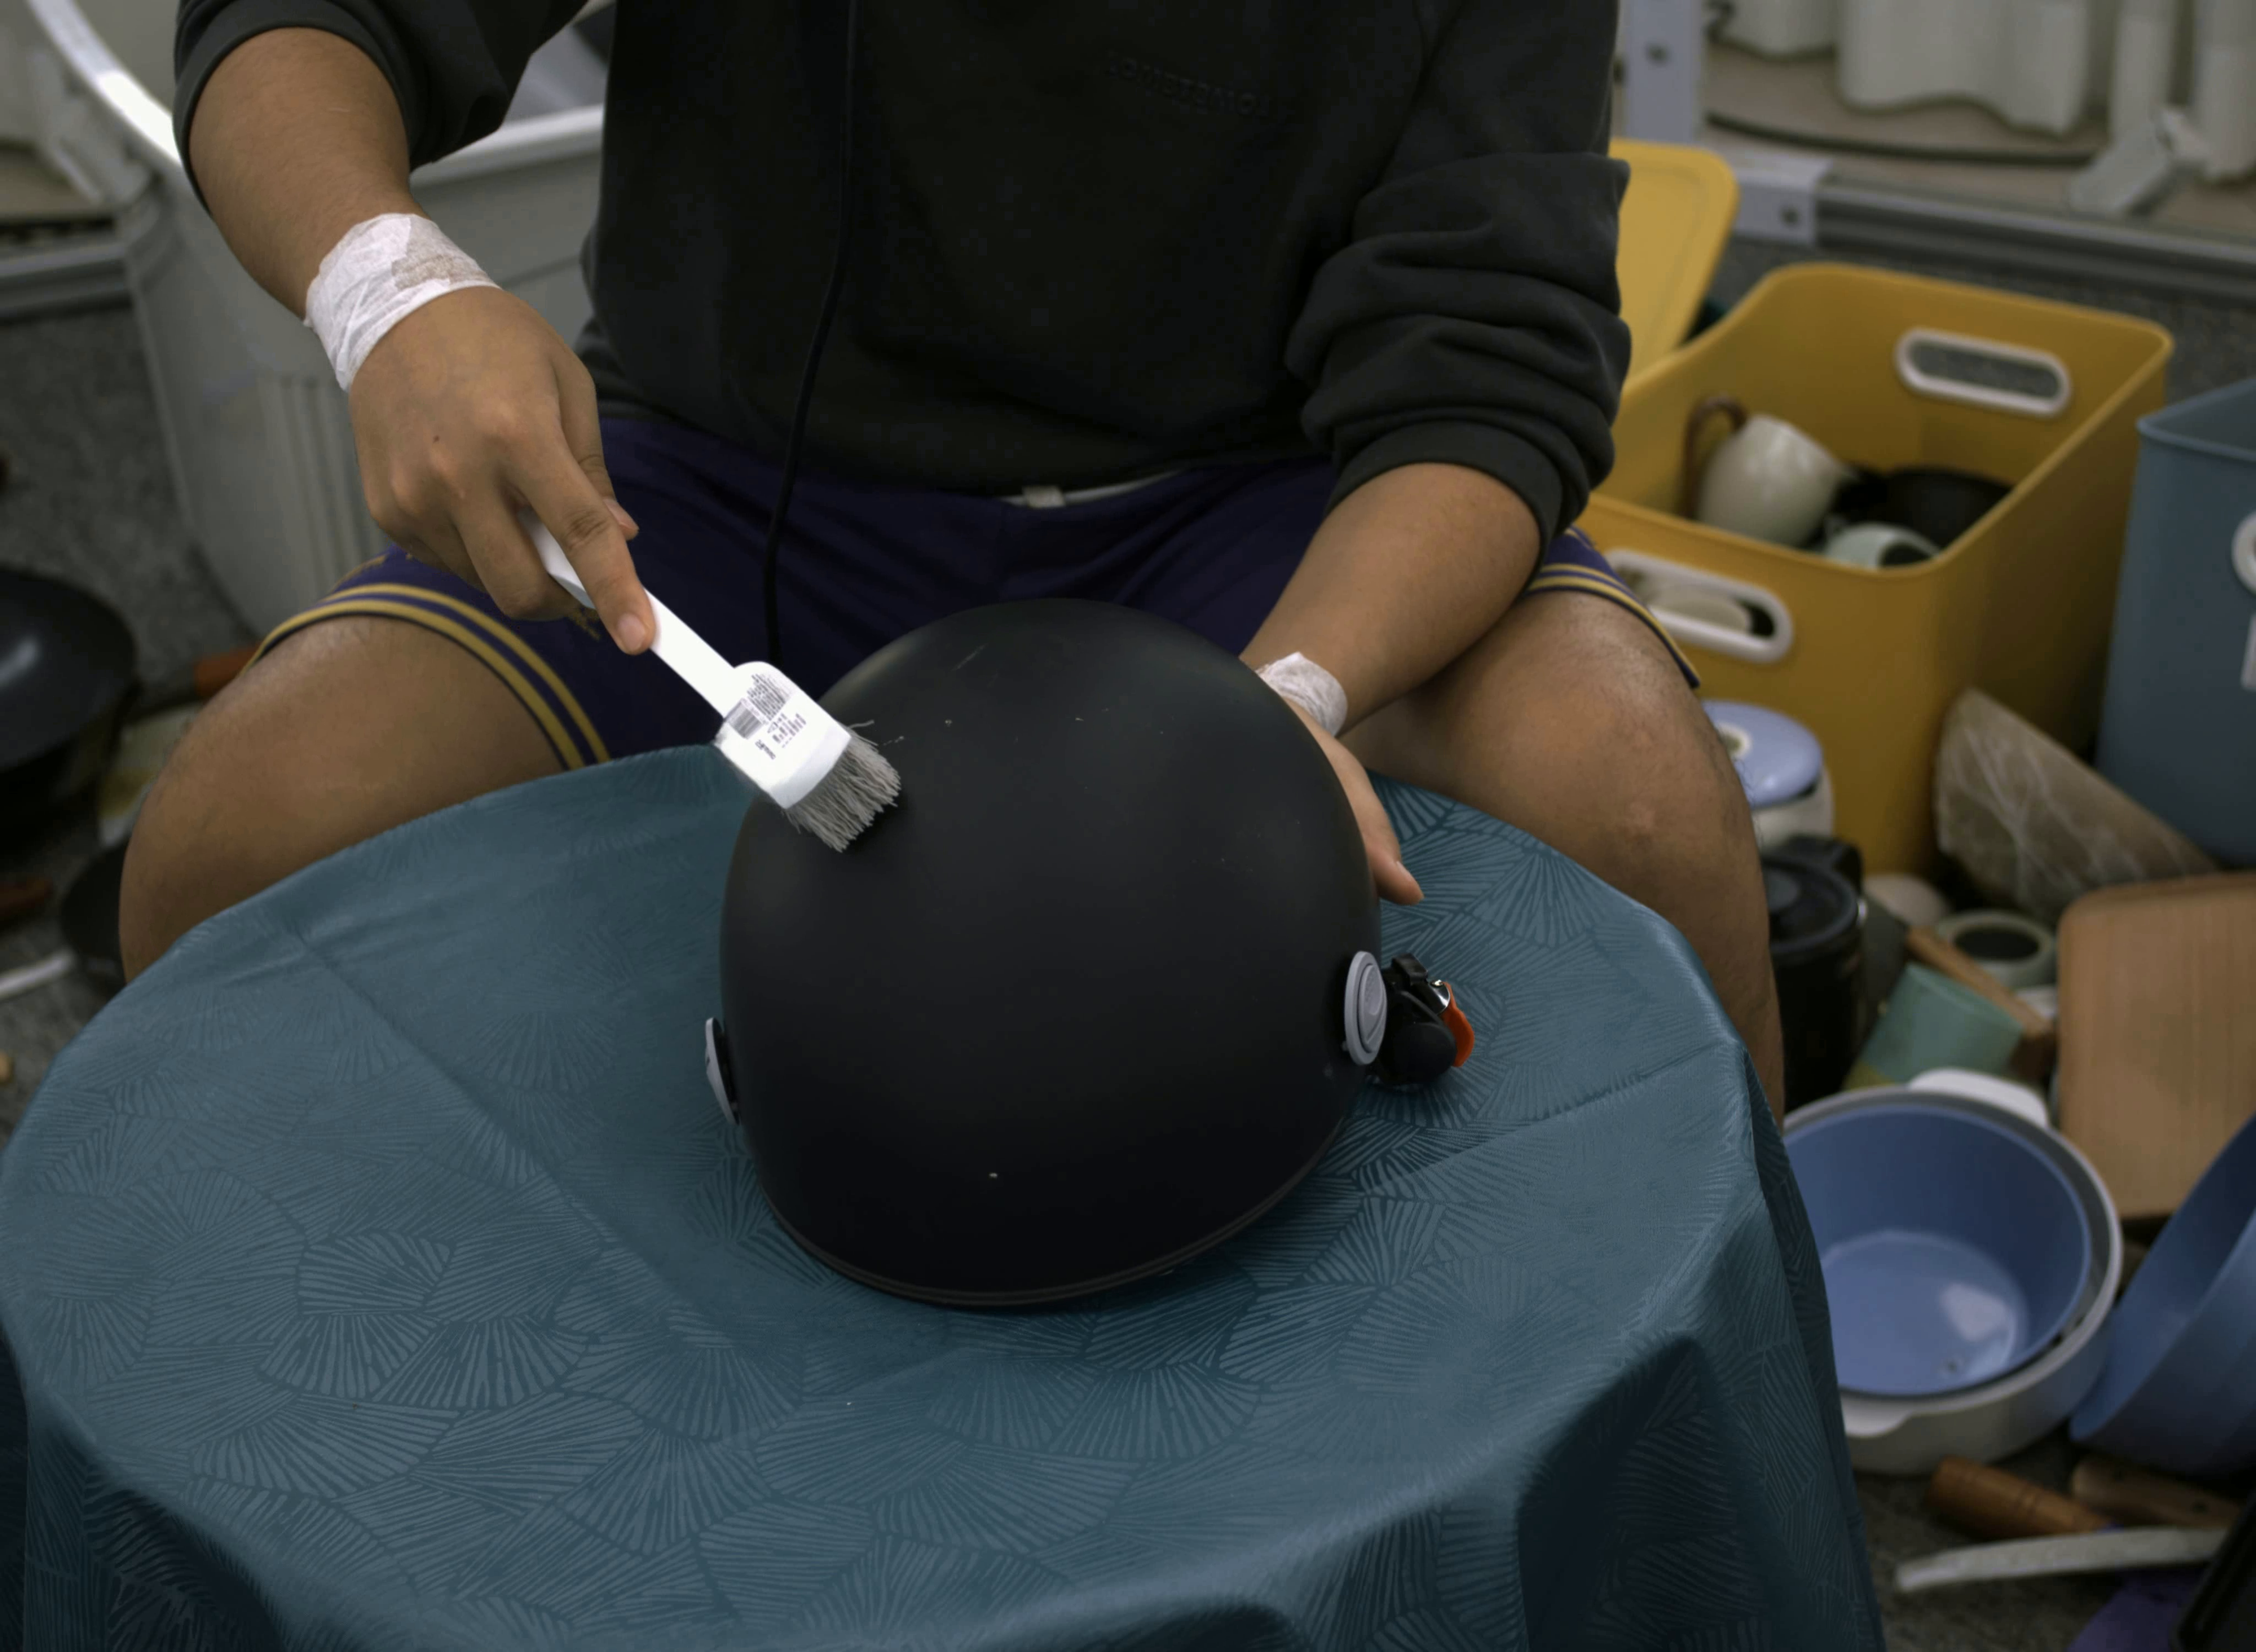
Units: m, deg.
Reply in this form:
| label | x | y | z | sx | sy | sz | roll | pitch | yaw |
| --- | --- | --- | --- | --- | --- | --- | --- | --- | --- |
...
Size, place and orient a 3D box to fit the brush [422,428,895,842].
| label | x | y | z | sx | sy | sz | roll | pitch | yaw |
| --- | --- | --- | --- | --- | --- | --- | --- | --- | --- |
| brush | -0.157 | -0.065 | 1.870 | 0.034 | 0.050 | 0.245 | -49 | 48 | -3 |

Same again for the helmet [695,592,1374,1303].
| label | x | y | z | sx | sy | sz | roll | pitch | yaw |
| --- | --- | --- | --- | --- | --- | --- | --- | --- | --- |
| helmet | -0.034 | 0.020 | 1.875 | 0.228 | 0.165 | 0.278 | -6 | 30 | 12 |
